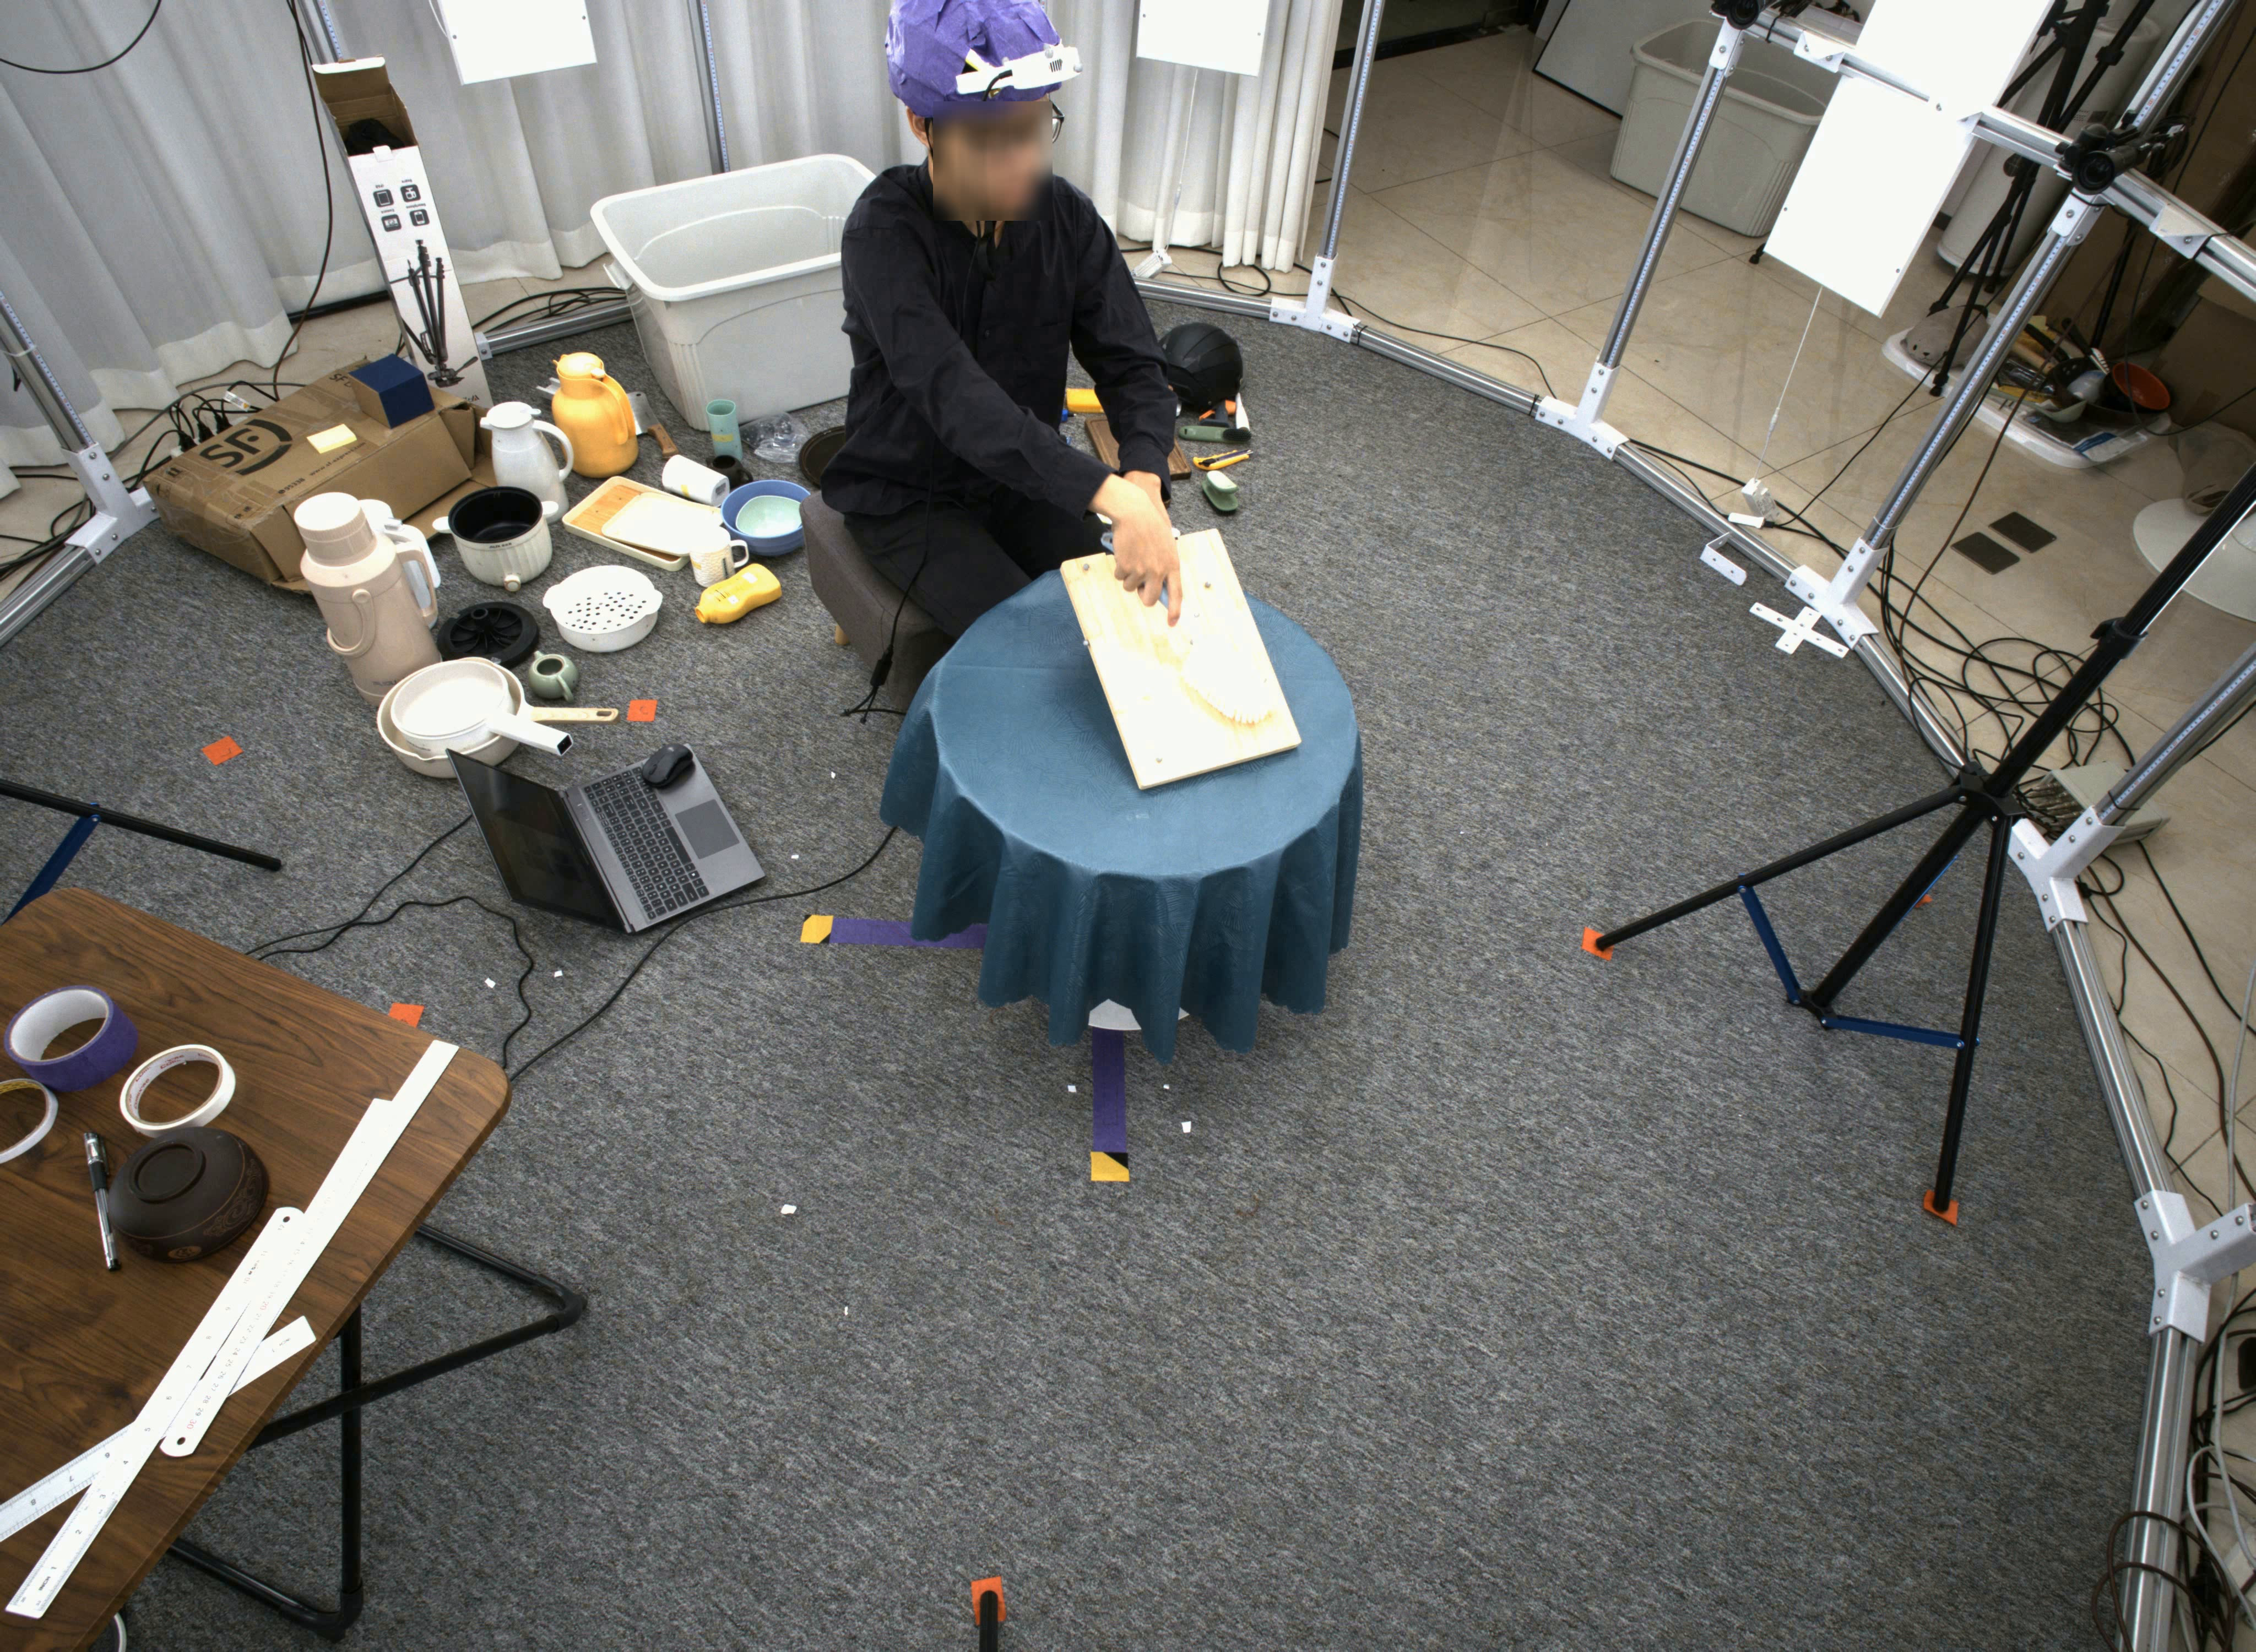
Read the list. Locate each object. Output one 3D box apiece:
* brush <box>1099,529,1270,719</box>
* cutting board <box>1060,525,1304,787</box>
[{"bbox_3d":[0.071,-0.271,1.744,0.324,0.083,0.084,46,30,-3],"label":"brush"},{"bbox_3d":[0.074,-0.240,1.784,0.251,0.023,0.353,-17,76,-18],"label":"cutting board"}]
